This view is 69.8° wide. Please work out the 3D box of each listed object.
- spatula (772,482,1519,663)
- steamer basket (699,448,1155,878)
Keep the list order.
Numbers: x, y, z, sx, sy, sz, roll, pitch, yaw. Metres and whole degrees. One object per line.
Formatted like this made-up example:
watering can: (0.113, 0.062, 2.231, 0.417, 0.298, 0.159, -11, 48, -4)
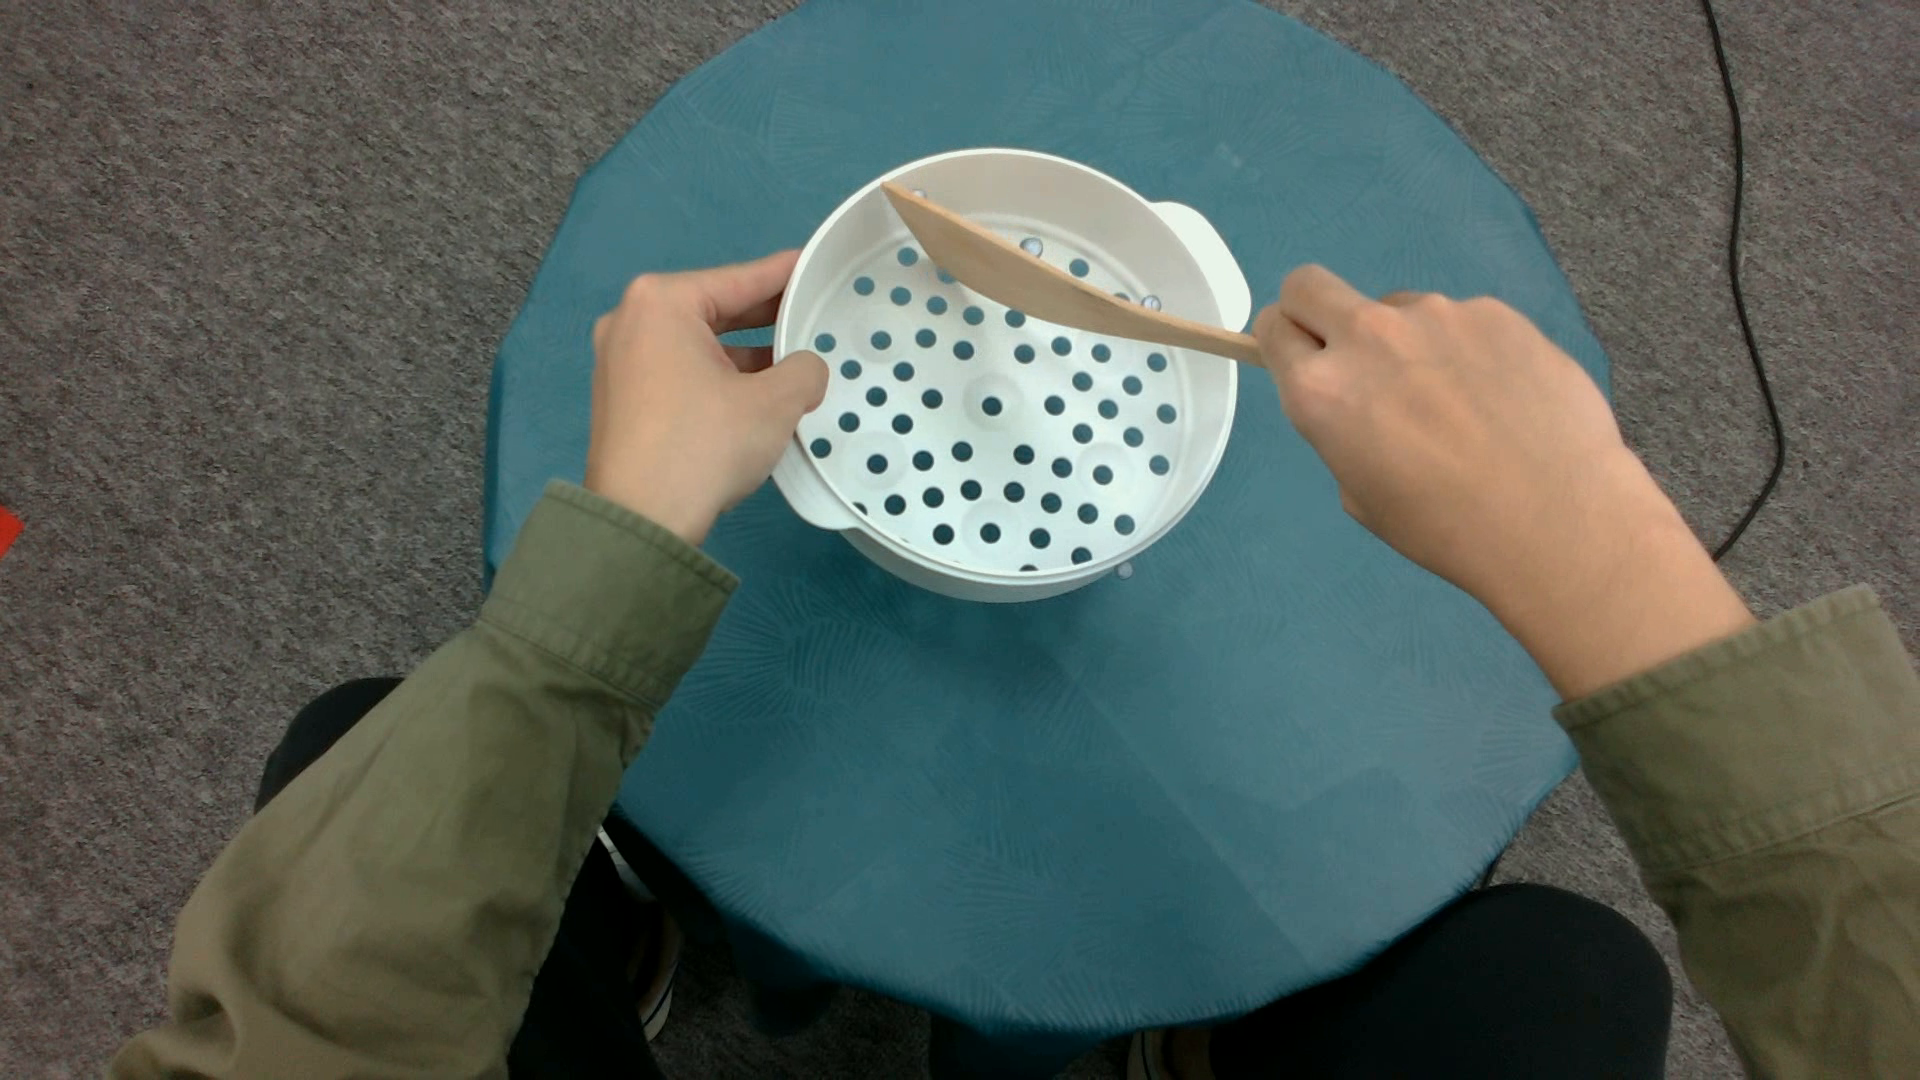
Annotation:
spatula: (0.061, 0.012, 0.576, 0.327, 0.016, 0.080, 10, 23, 30)
steamer basket: (-0.012, 0.057, 0.649, 0.231, 0.069, 0.202, -35, 68, -18)
